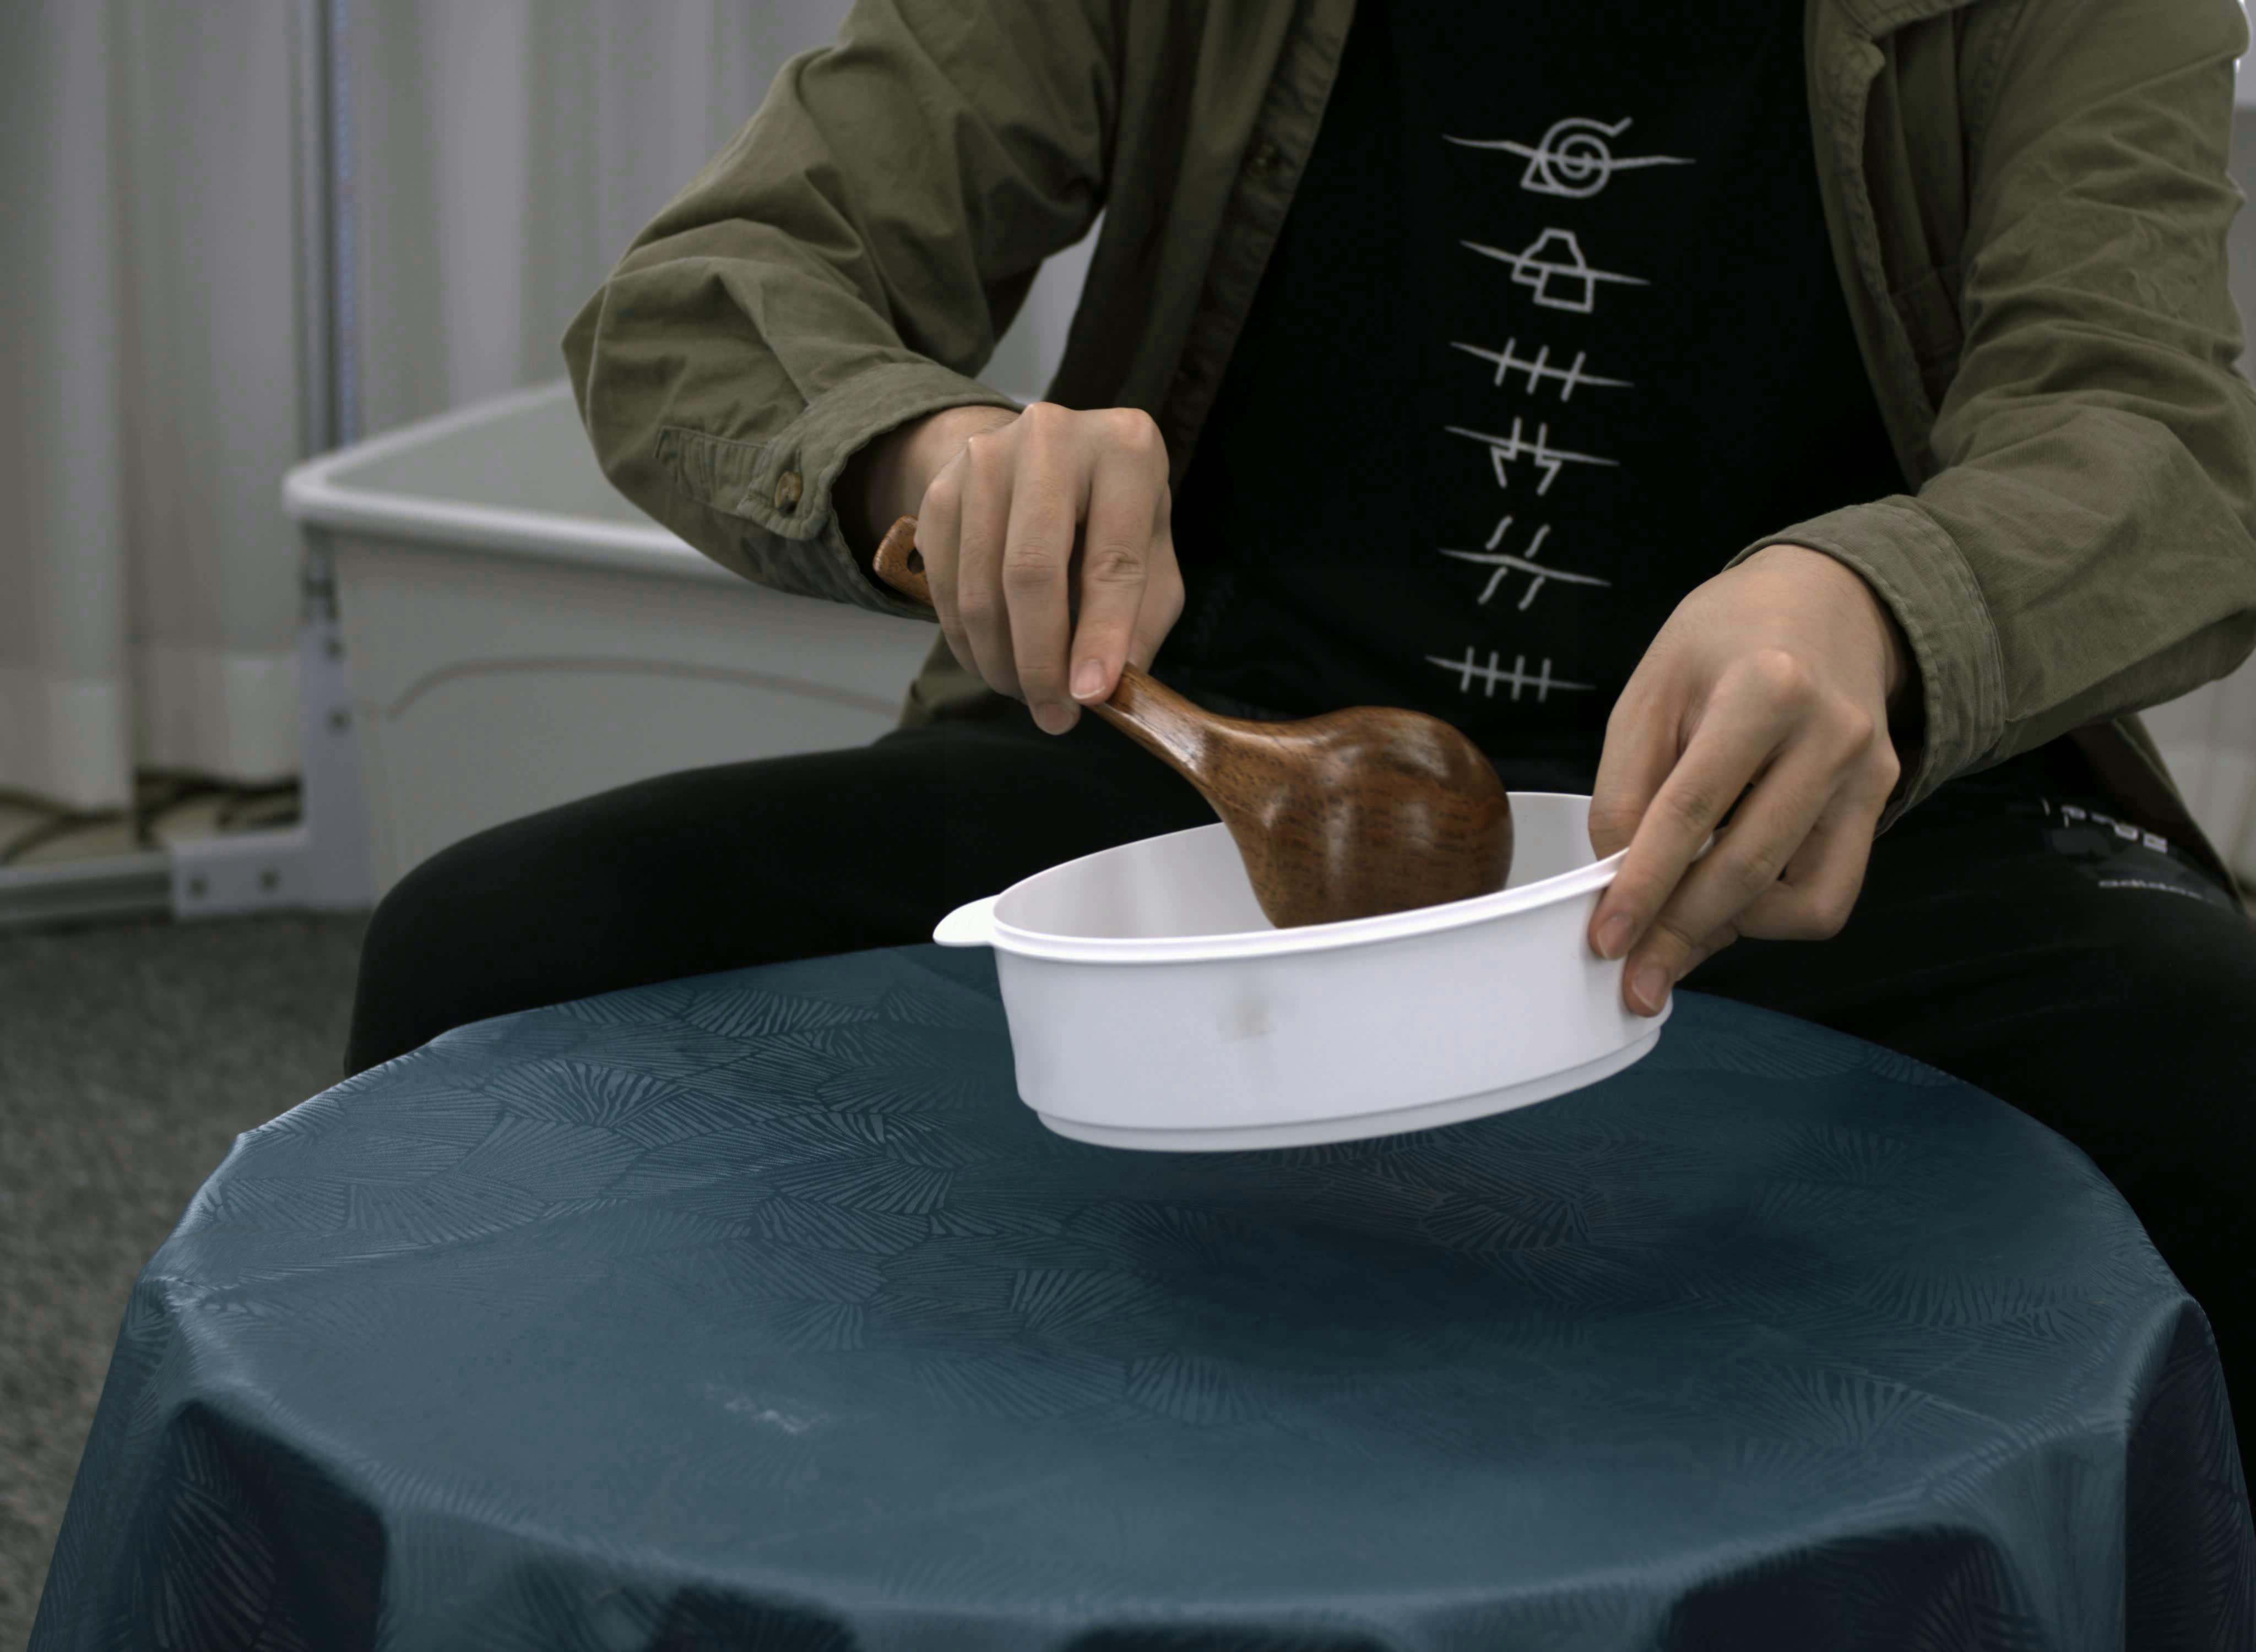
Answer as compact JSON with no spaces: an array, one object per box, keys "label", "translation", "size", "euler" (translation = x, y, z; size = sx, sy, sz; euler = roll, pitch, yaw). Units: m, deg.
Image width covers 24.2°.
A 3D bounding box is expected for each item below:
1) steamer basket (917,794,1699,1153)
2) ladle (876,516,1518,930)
[{"label":"steamer basket","translation":[0.056,0.043,1.543],"size":[0.229,0.070,0.201],"euler":[-6,10,9]},{"label":"ladle","translation":[0.020,-0.036,1.633],"size":[0.077,0.082,0.270],"euler":[27,5,-39]}]
